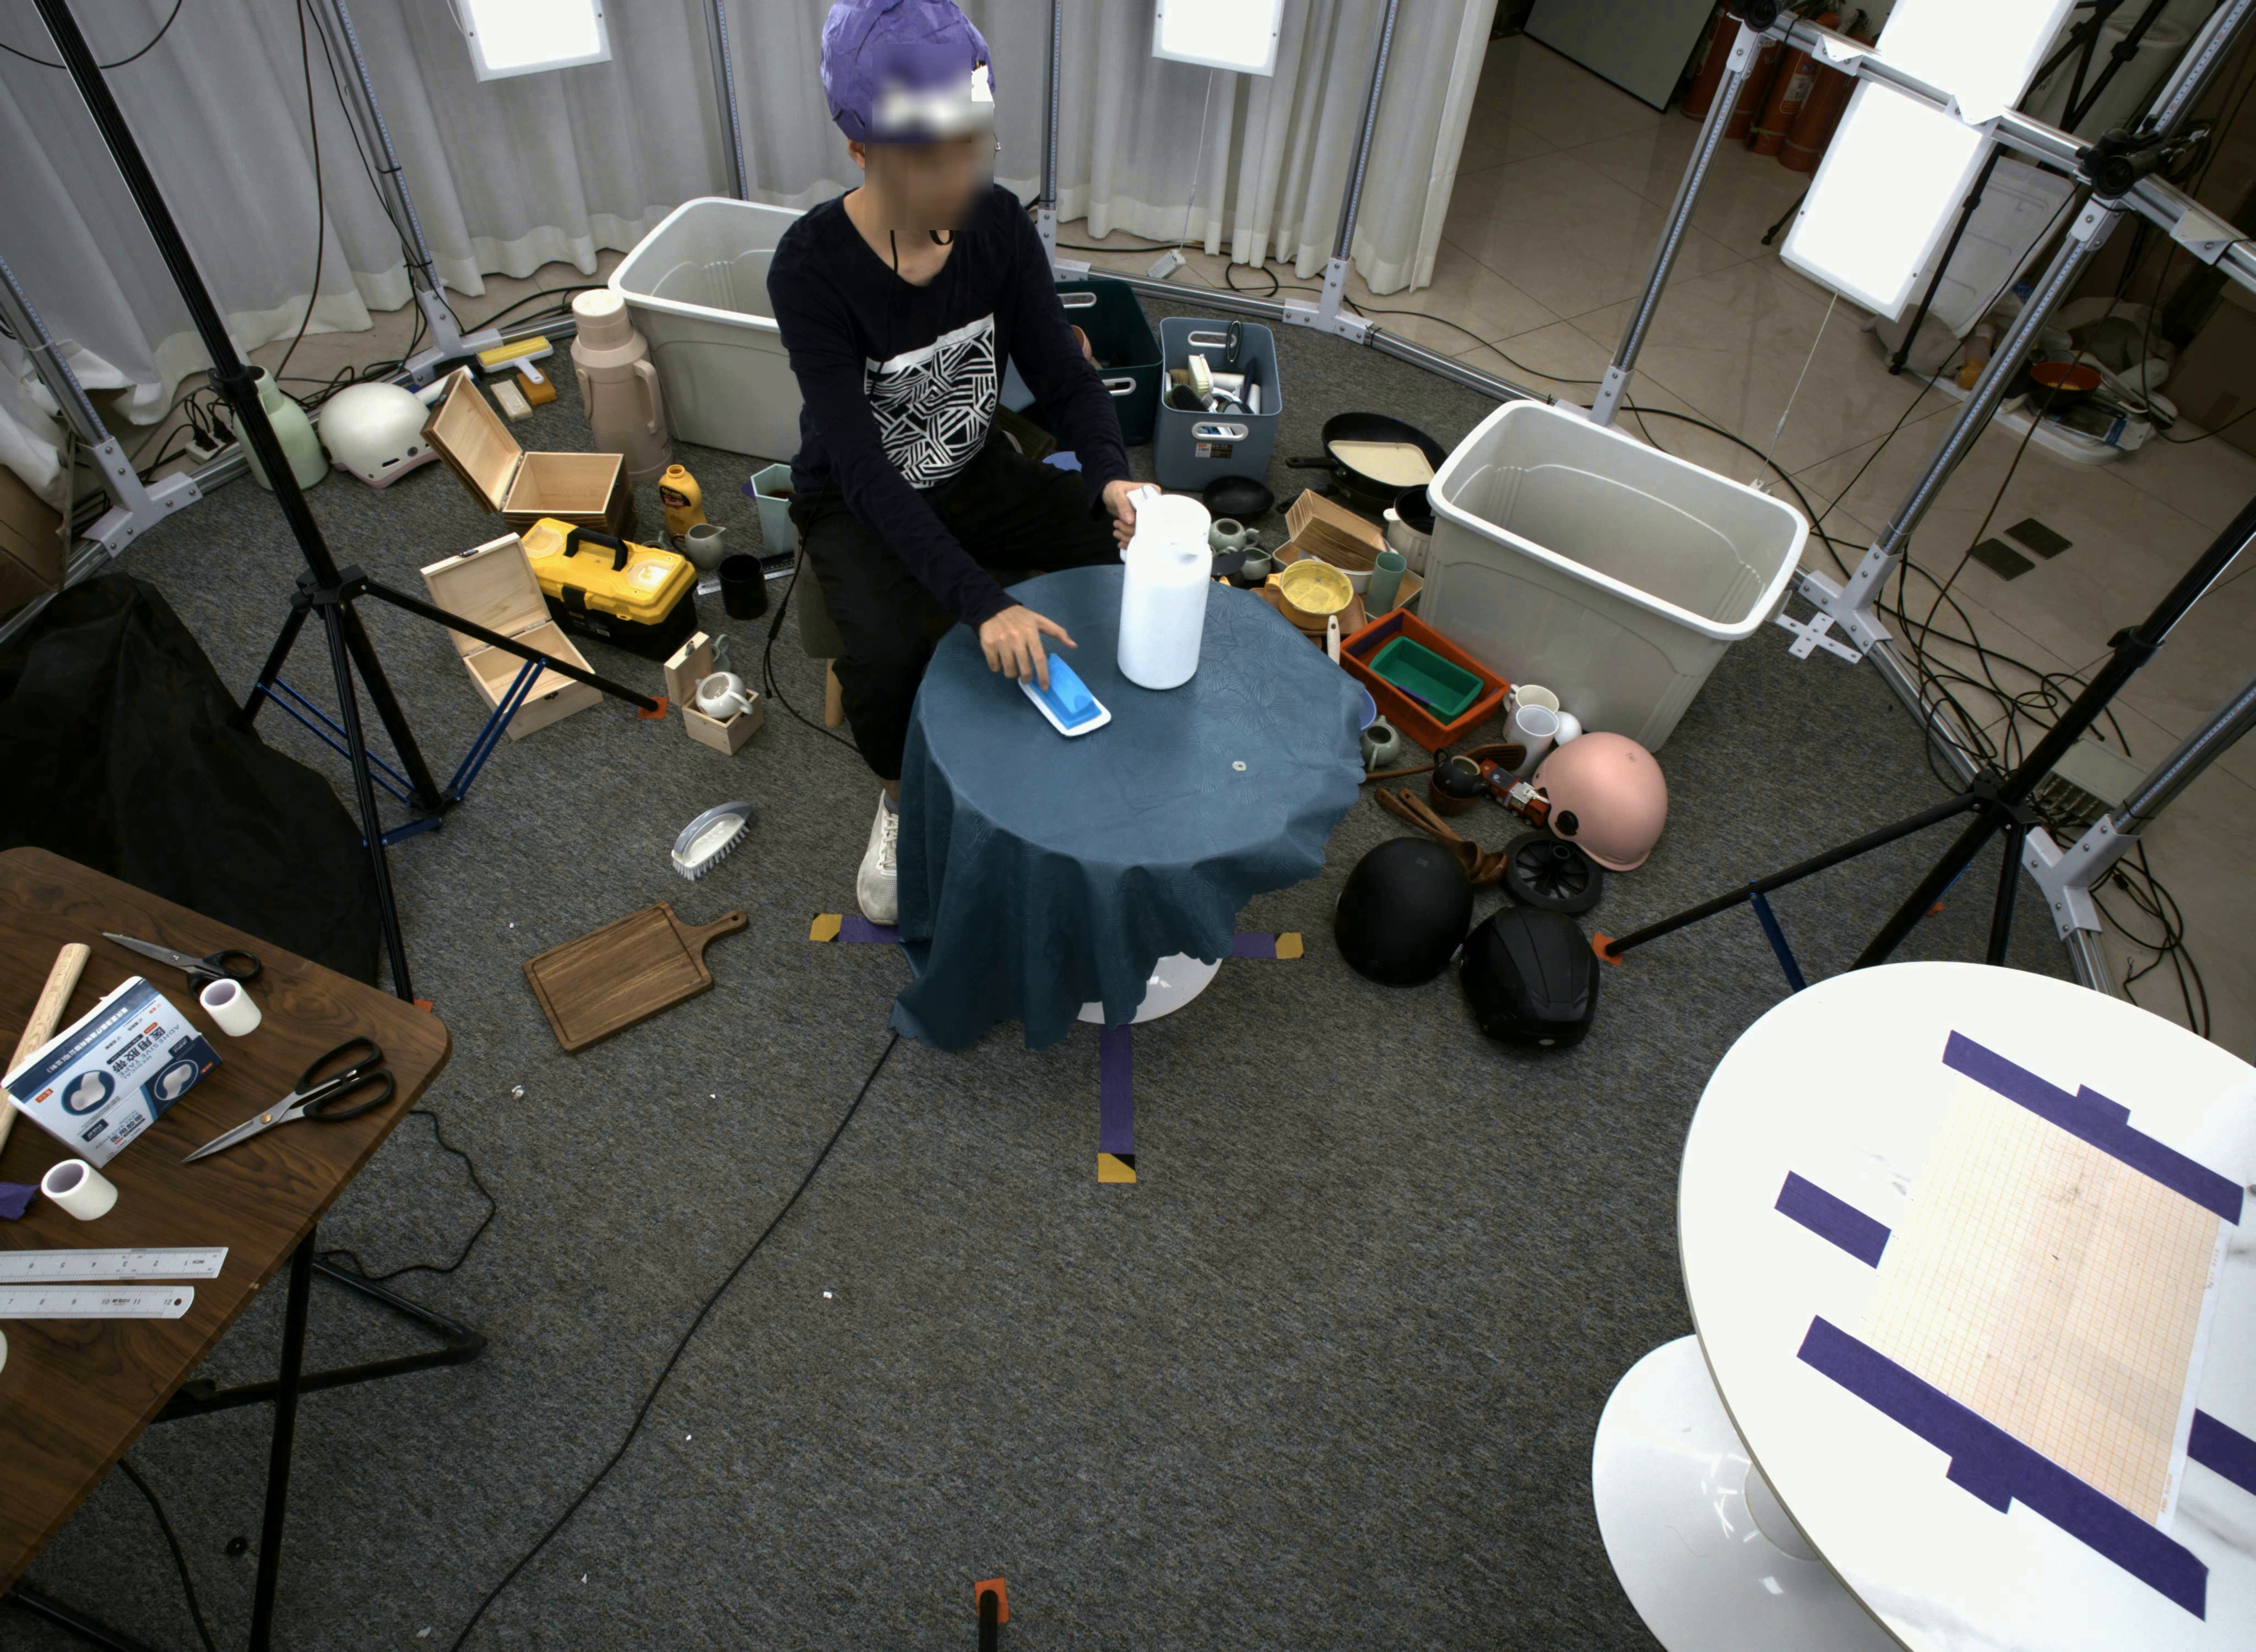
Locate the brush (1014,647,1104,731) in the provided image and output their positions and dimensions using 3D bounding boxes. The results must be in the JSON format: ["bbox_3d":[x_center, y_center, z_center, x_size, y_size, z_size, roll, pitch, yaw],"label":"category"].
[{"bbox_3d":[-0.095,-0.198,1.792,0.084,0.054,0.147,-21,58,-25],"label":"brush"}]

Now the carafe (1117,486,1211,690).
[{"bbox_3d":[0.041,-0.332,1.788,0.124,0.262,0.176,-23,53,-20],"label":"carafe"}]
